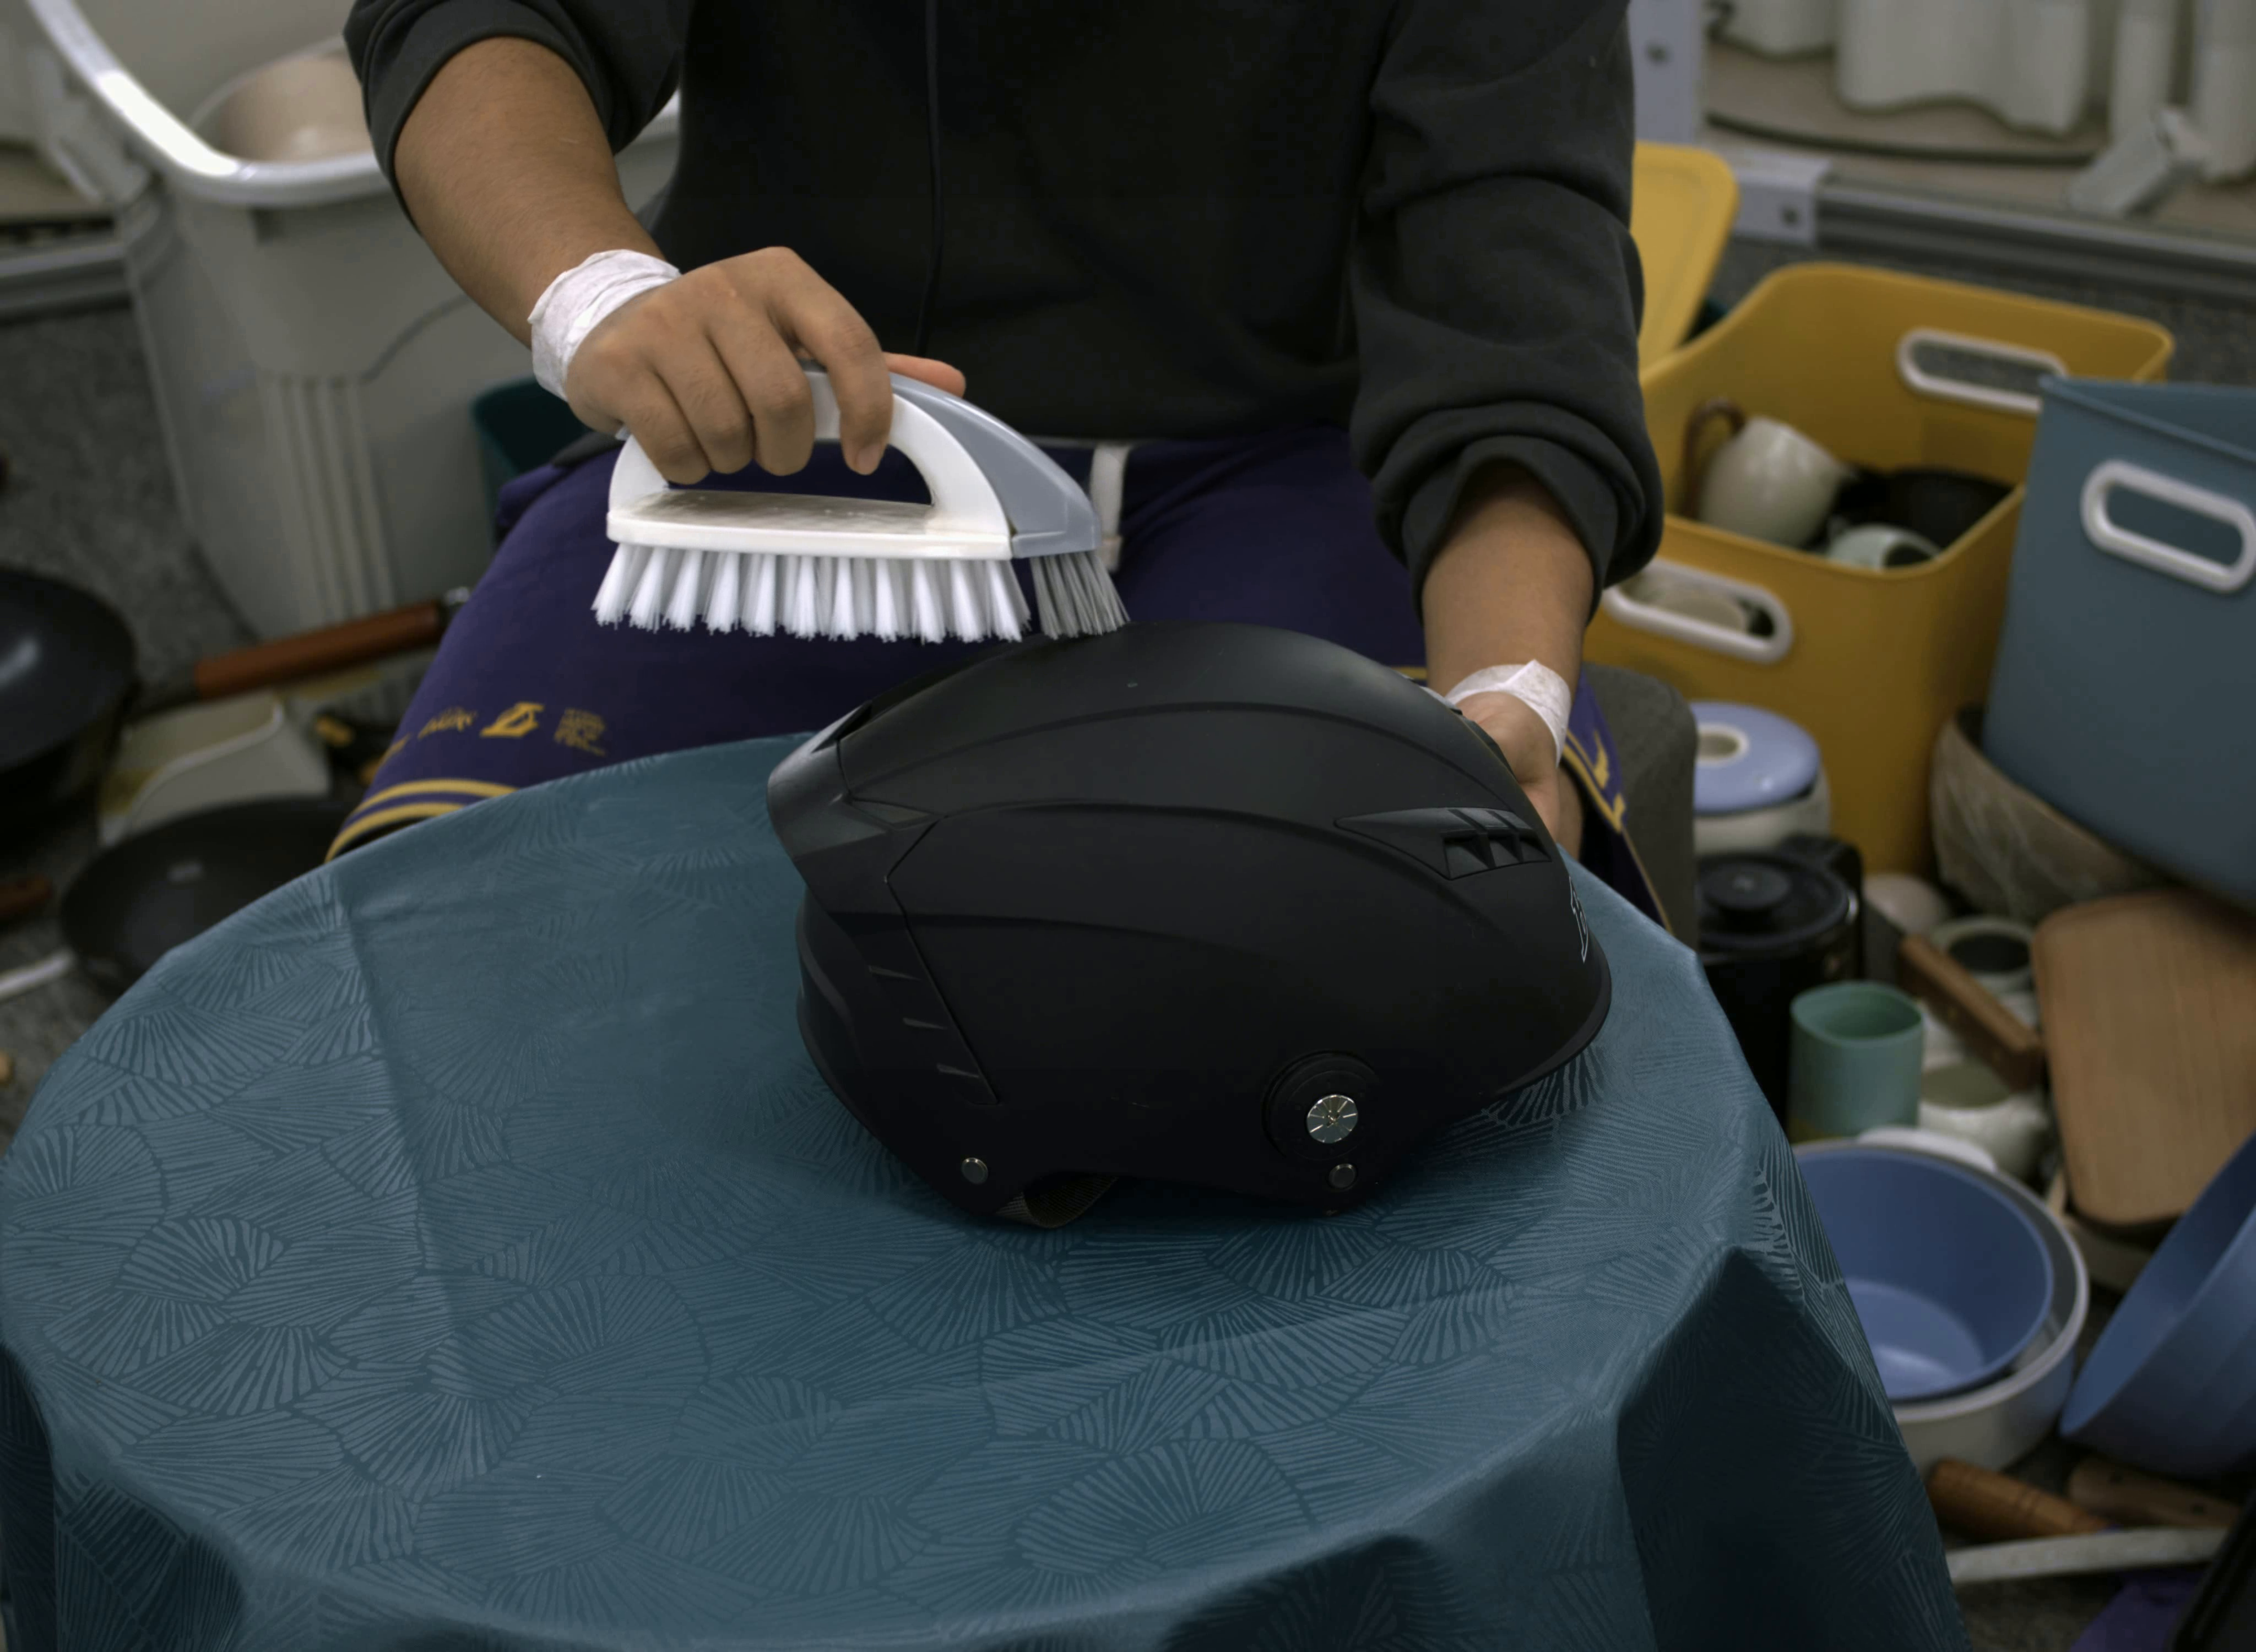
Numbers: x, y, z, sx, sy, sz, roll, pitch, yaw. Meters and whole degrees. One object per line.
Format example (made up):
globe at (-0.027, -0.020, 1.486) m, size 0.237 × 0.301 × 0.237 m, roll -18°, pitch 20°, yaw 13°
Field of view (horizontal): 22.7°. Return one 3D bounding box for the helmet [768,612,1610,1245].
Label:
helmet at (0.019, 0.016, 1.895) m, size 0.276 × 0.170 × 0.250 m, roll -9°, pitch 28°, yaw -2°

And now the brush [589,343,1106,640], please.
brush at (-0.091, -0.113, 1.889) m, size 0.174 × 0.093 × 0.062 m, roll 6°, pitch 17°, yaw 5°
